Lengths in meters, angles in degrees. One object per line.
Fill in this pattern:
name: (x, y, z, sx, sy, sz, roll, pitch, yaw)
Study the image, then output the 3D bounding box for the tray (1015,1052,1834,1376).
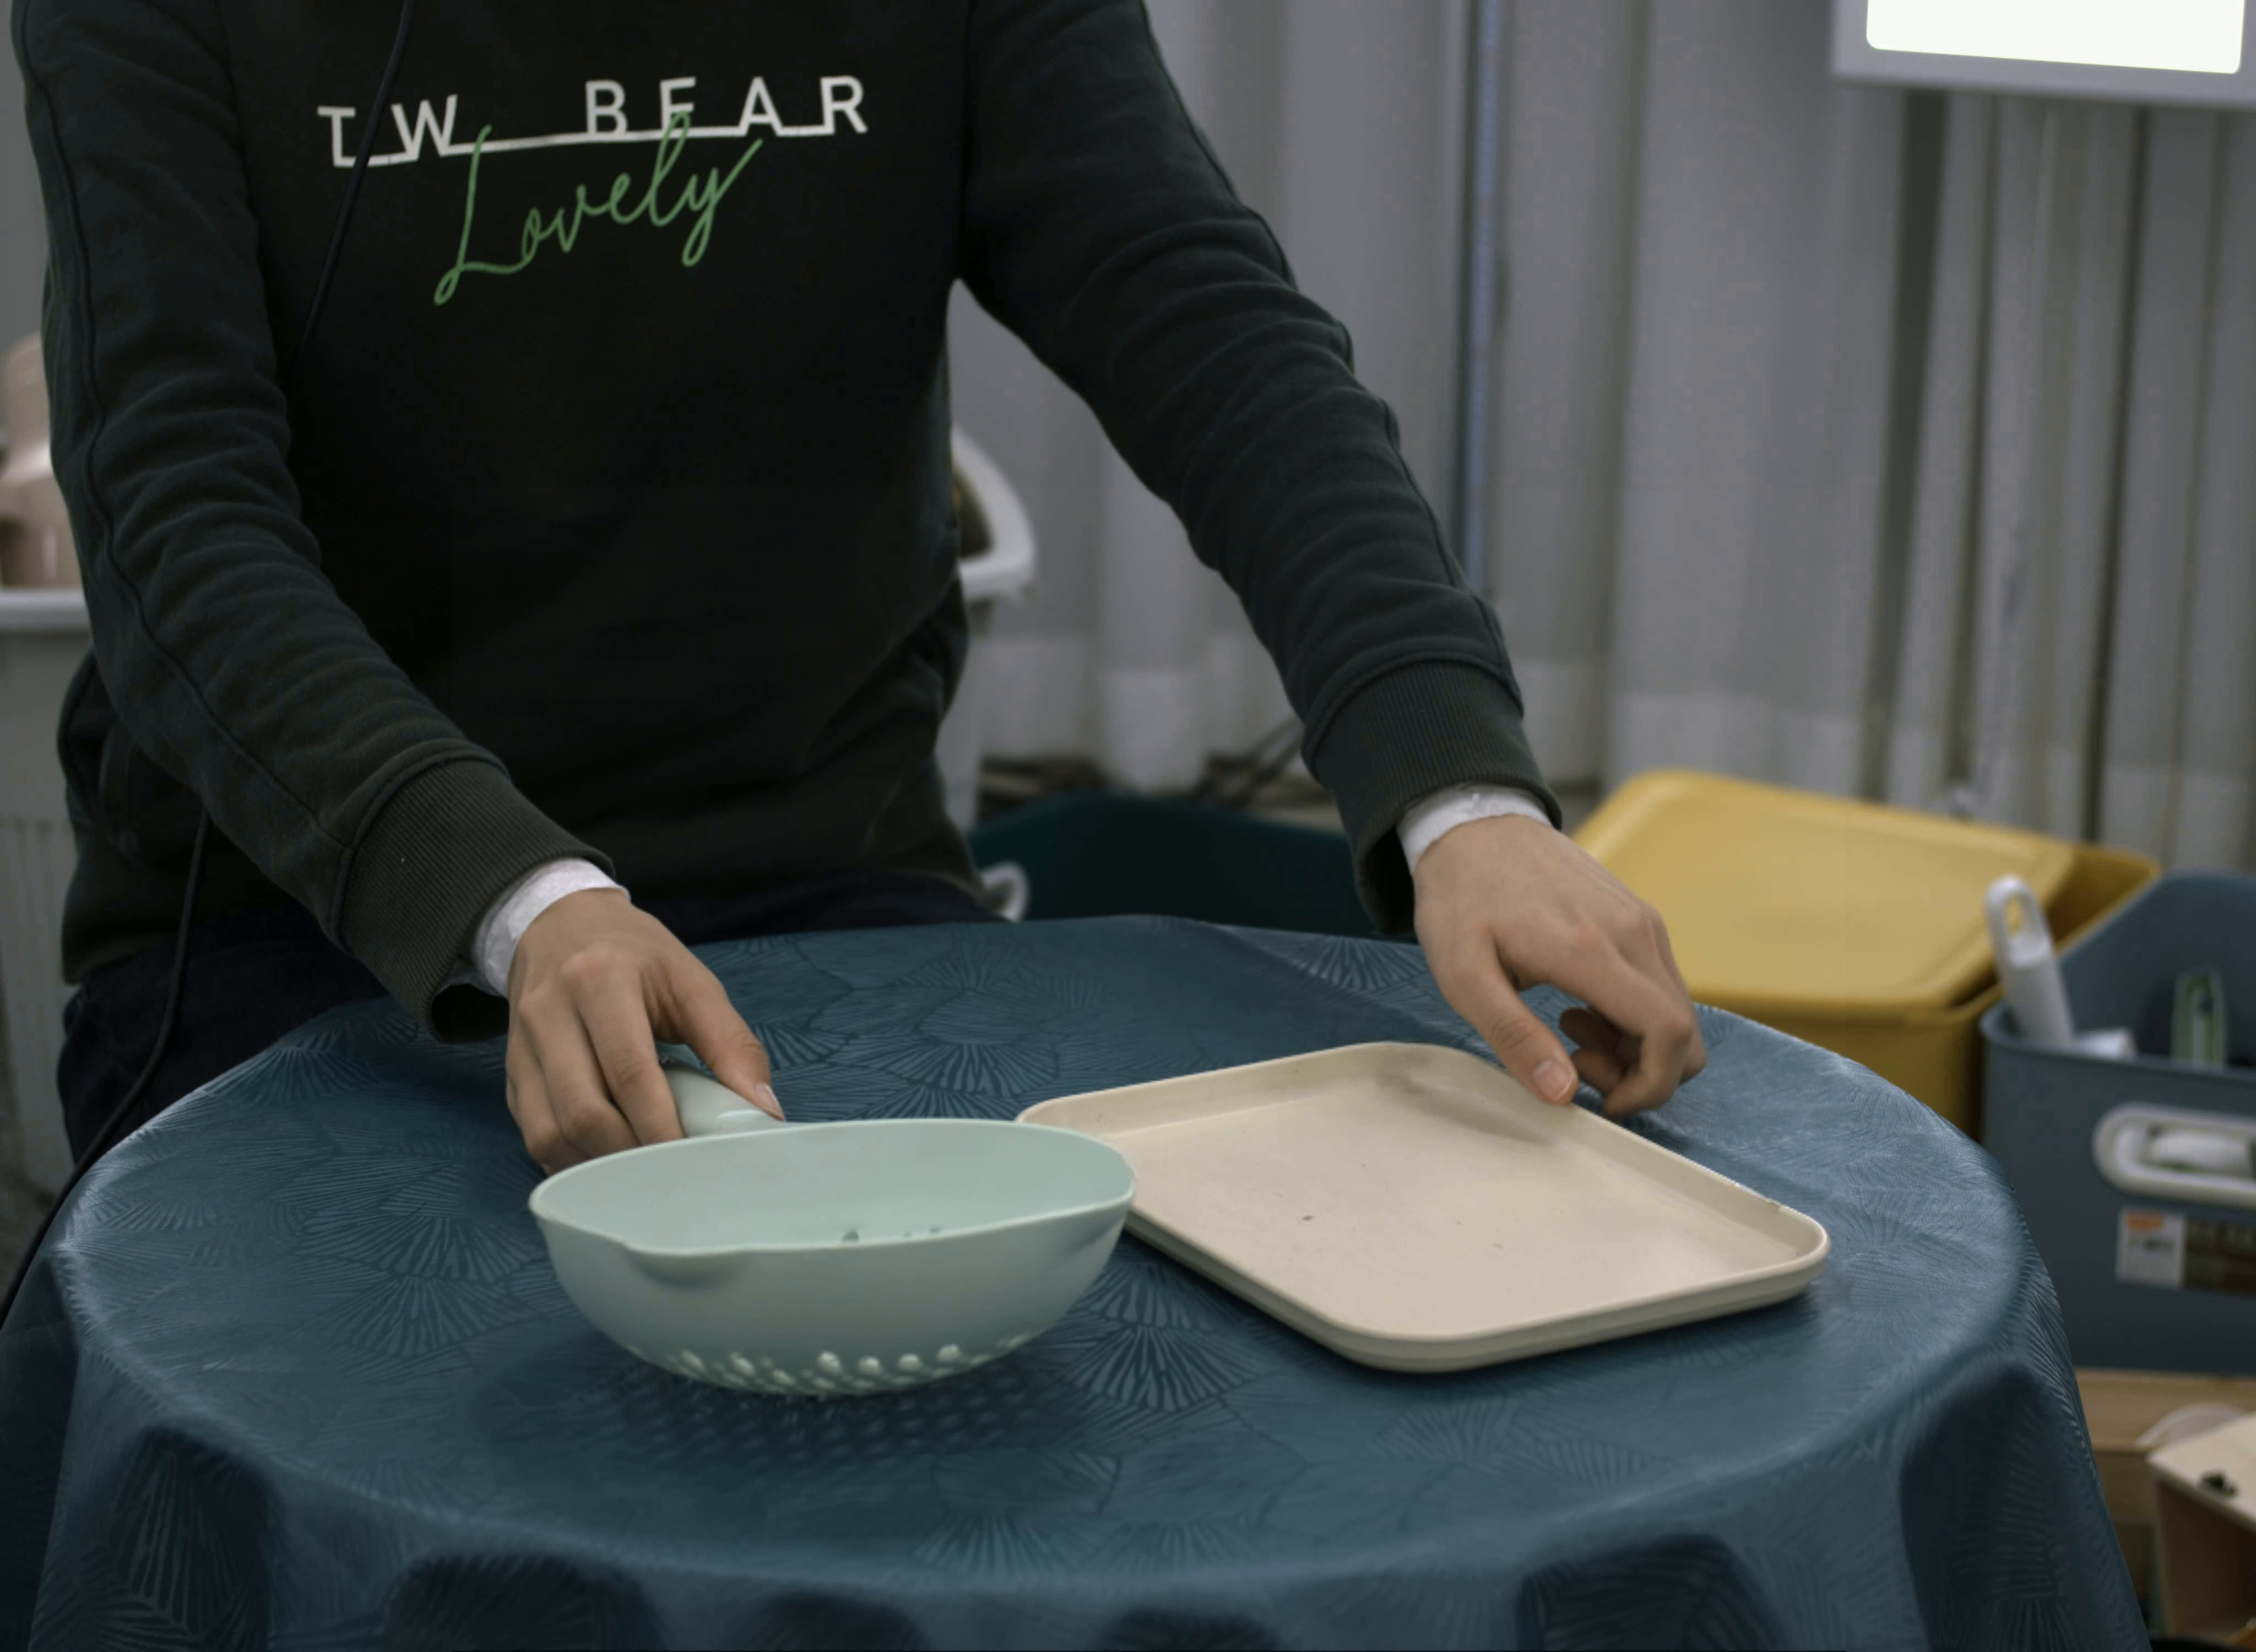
tray: (0.085, 0.115, 1.591, 0.172, 0.017, 0.236, -8, 17, -30)

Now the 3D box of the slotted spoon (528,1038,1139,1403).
slotted spoon: (-0.110, 0.099, 1.551, 0.169, 0.076, 0.355, -5, 16, -17)
